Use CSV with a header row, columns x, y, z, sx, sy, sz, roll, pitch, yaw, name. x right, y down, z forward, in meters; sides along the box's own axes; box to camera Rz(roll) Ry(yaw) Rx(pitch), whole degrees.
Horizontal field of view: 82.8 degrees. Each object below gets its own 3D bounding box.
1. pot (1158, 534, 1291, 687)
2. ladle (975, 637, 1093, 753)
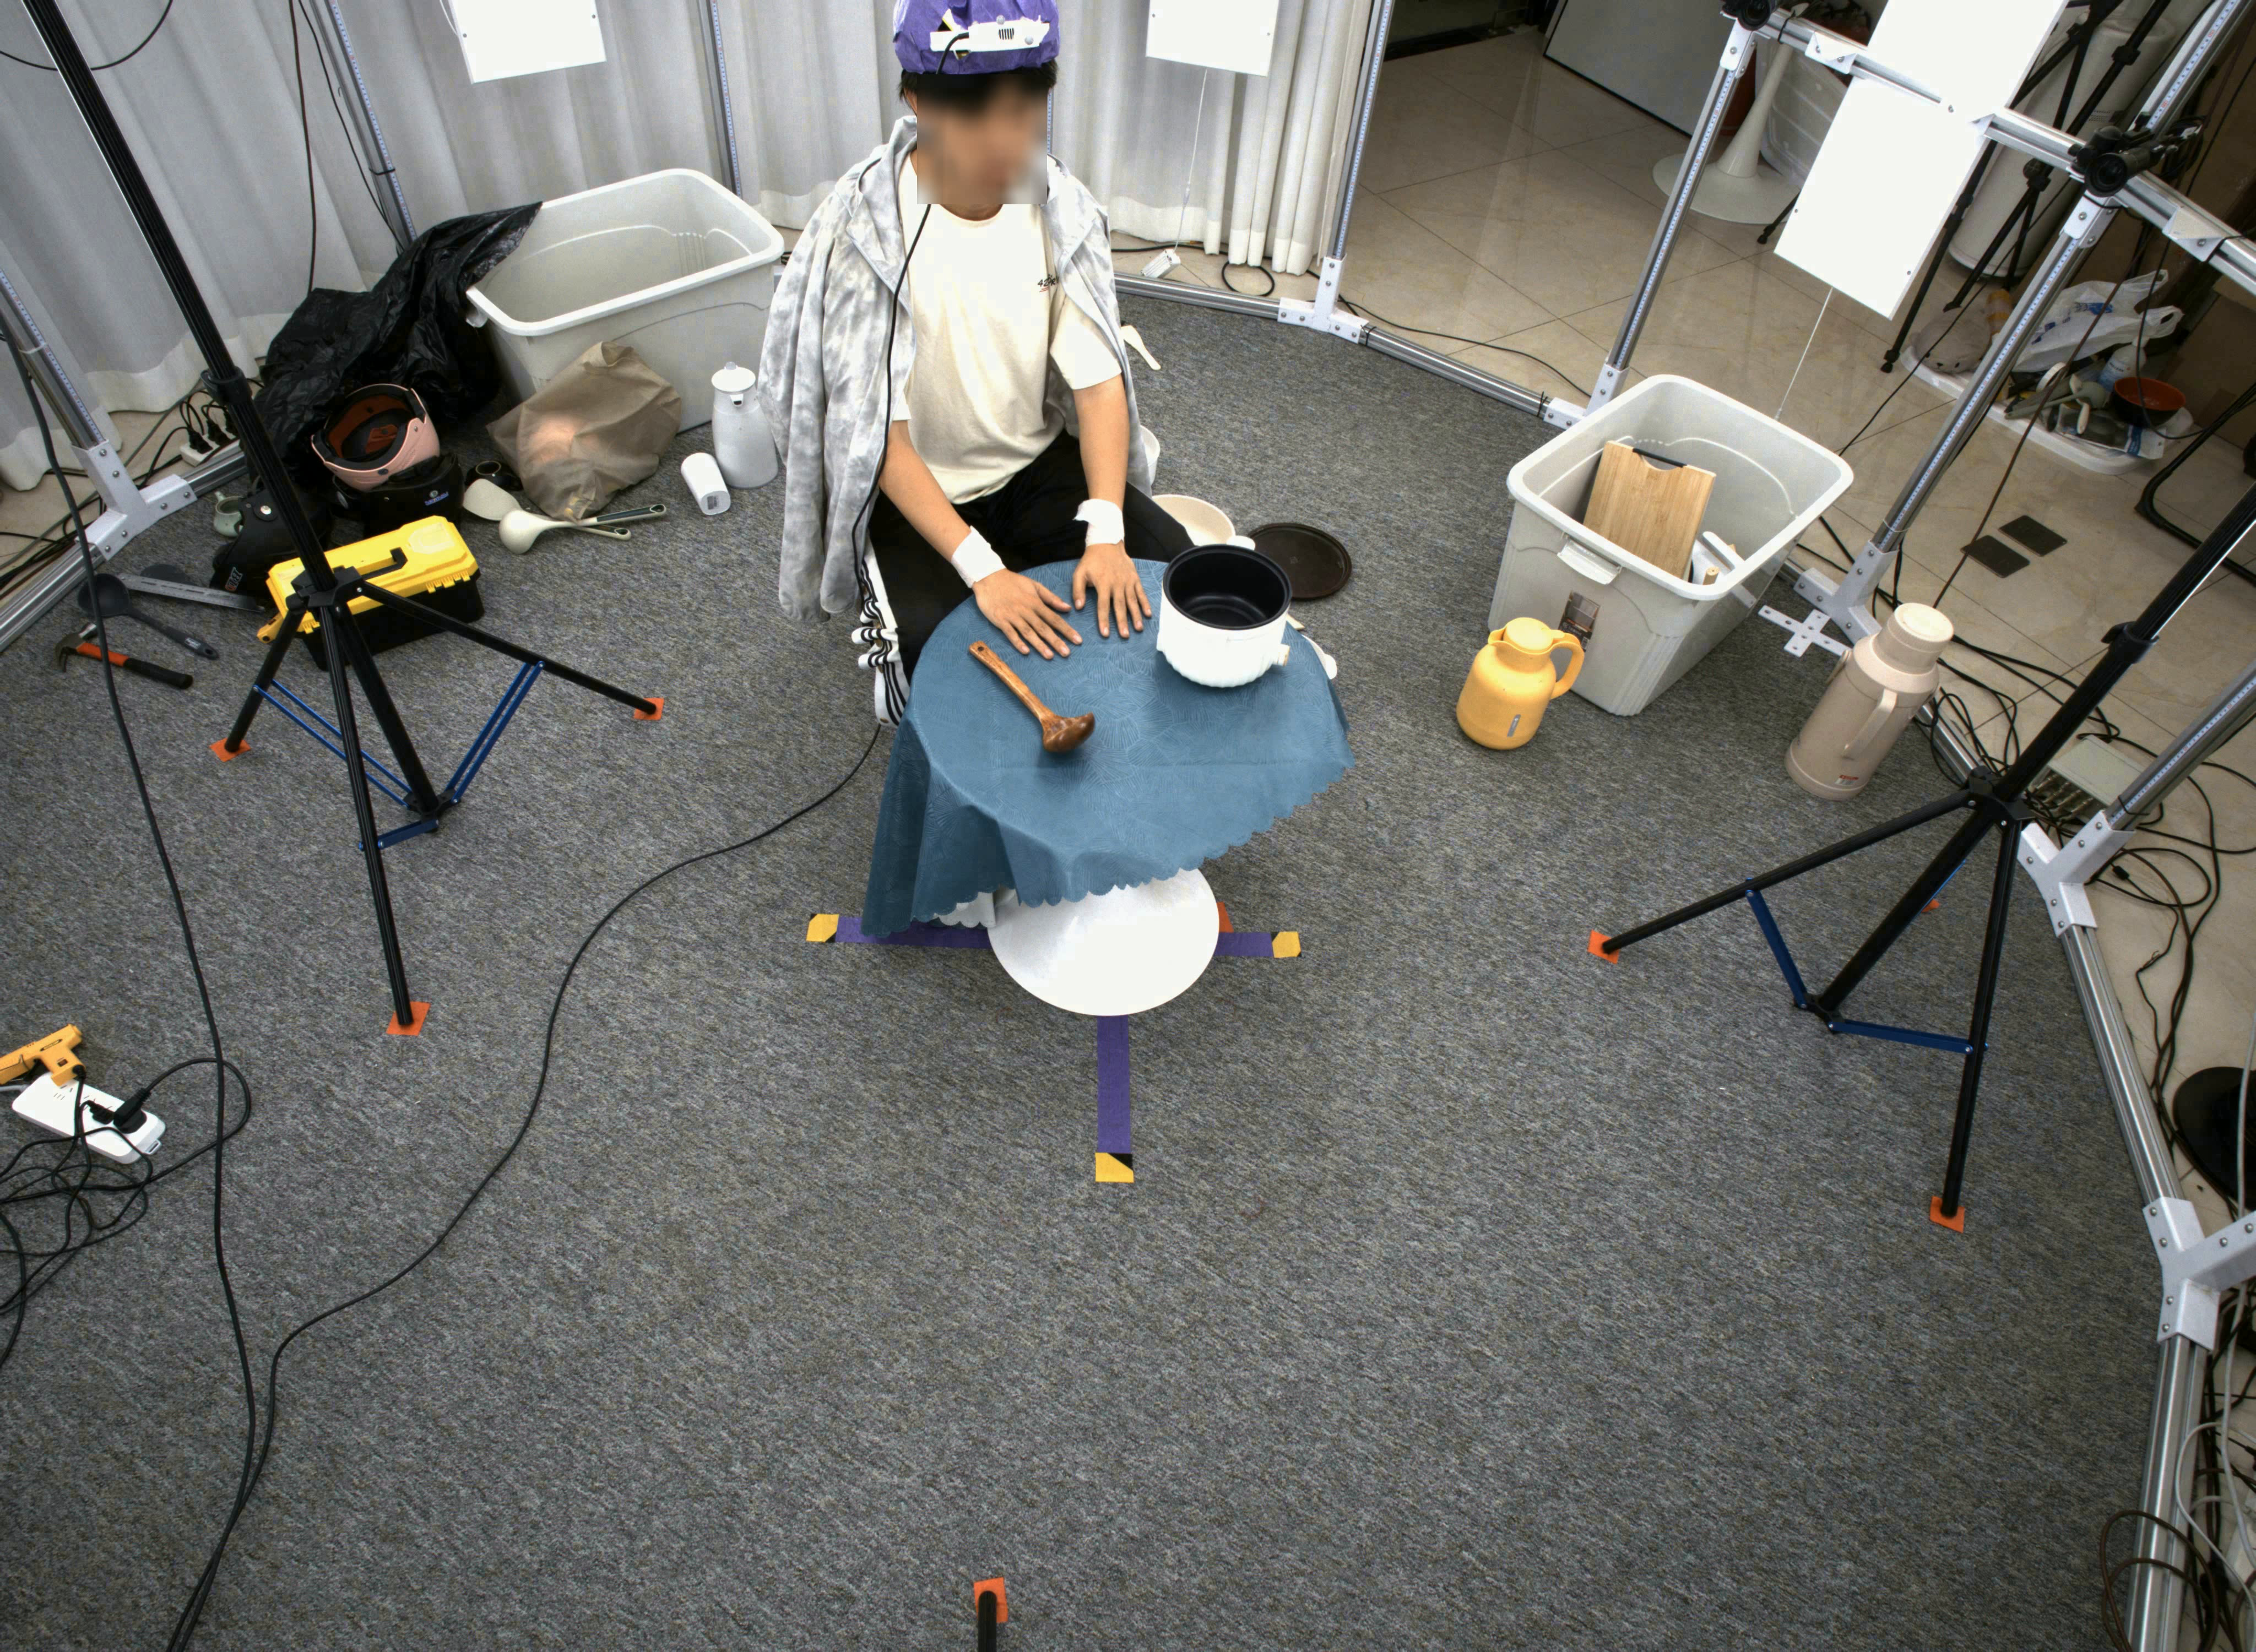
x,y,z,sx,sy,sz,roll,pitch,yaw,name
0.141,-0.294,1.837,0.191,0.139,0.246,10,50,10,pot
-0.143,-0.195,1.770,0.082,0.075,0.279,-30,57,-17,ladle
